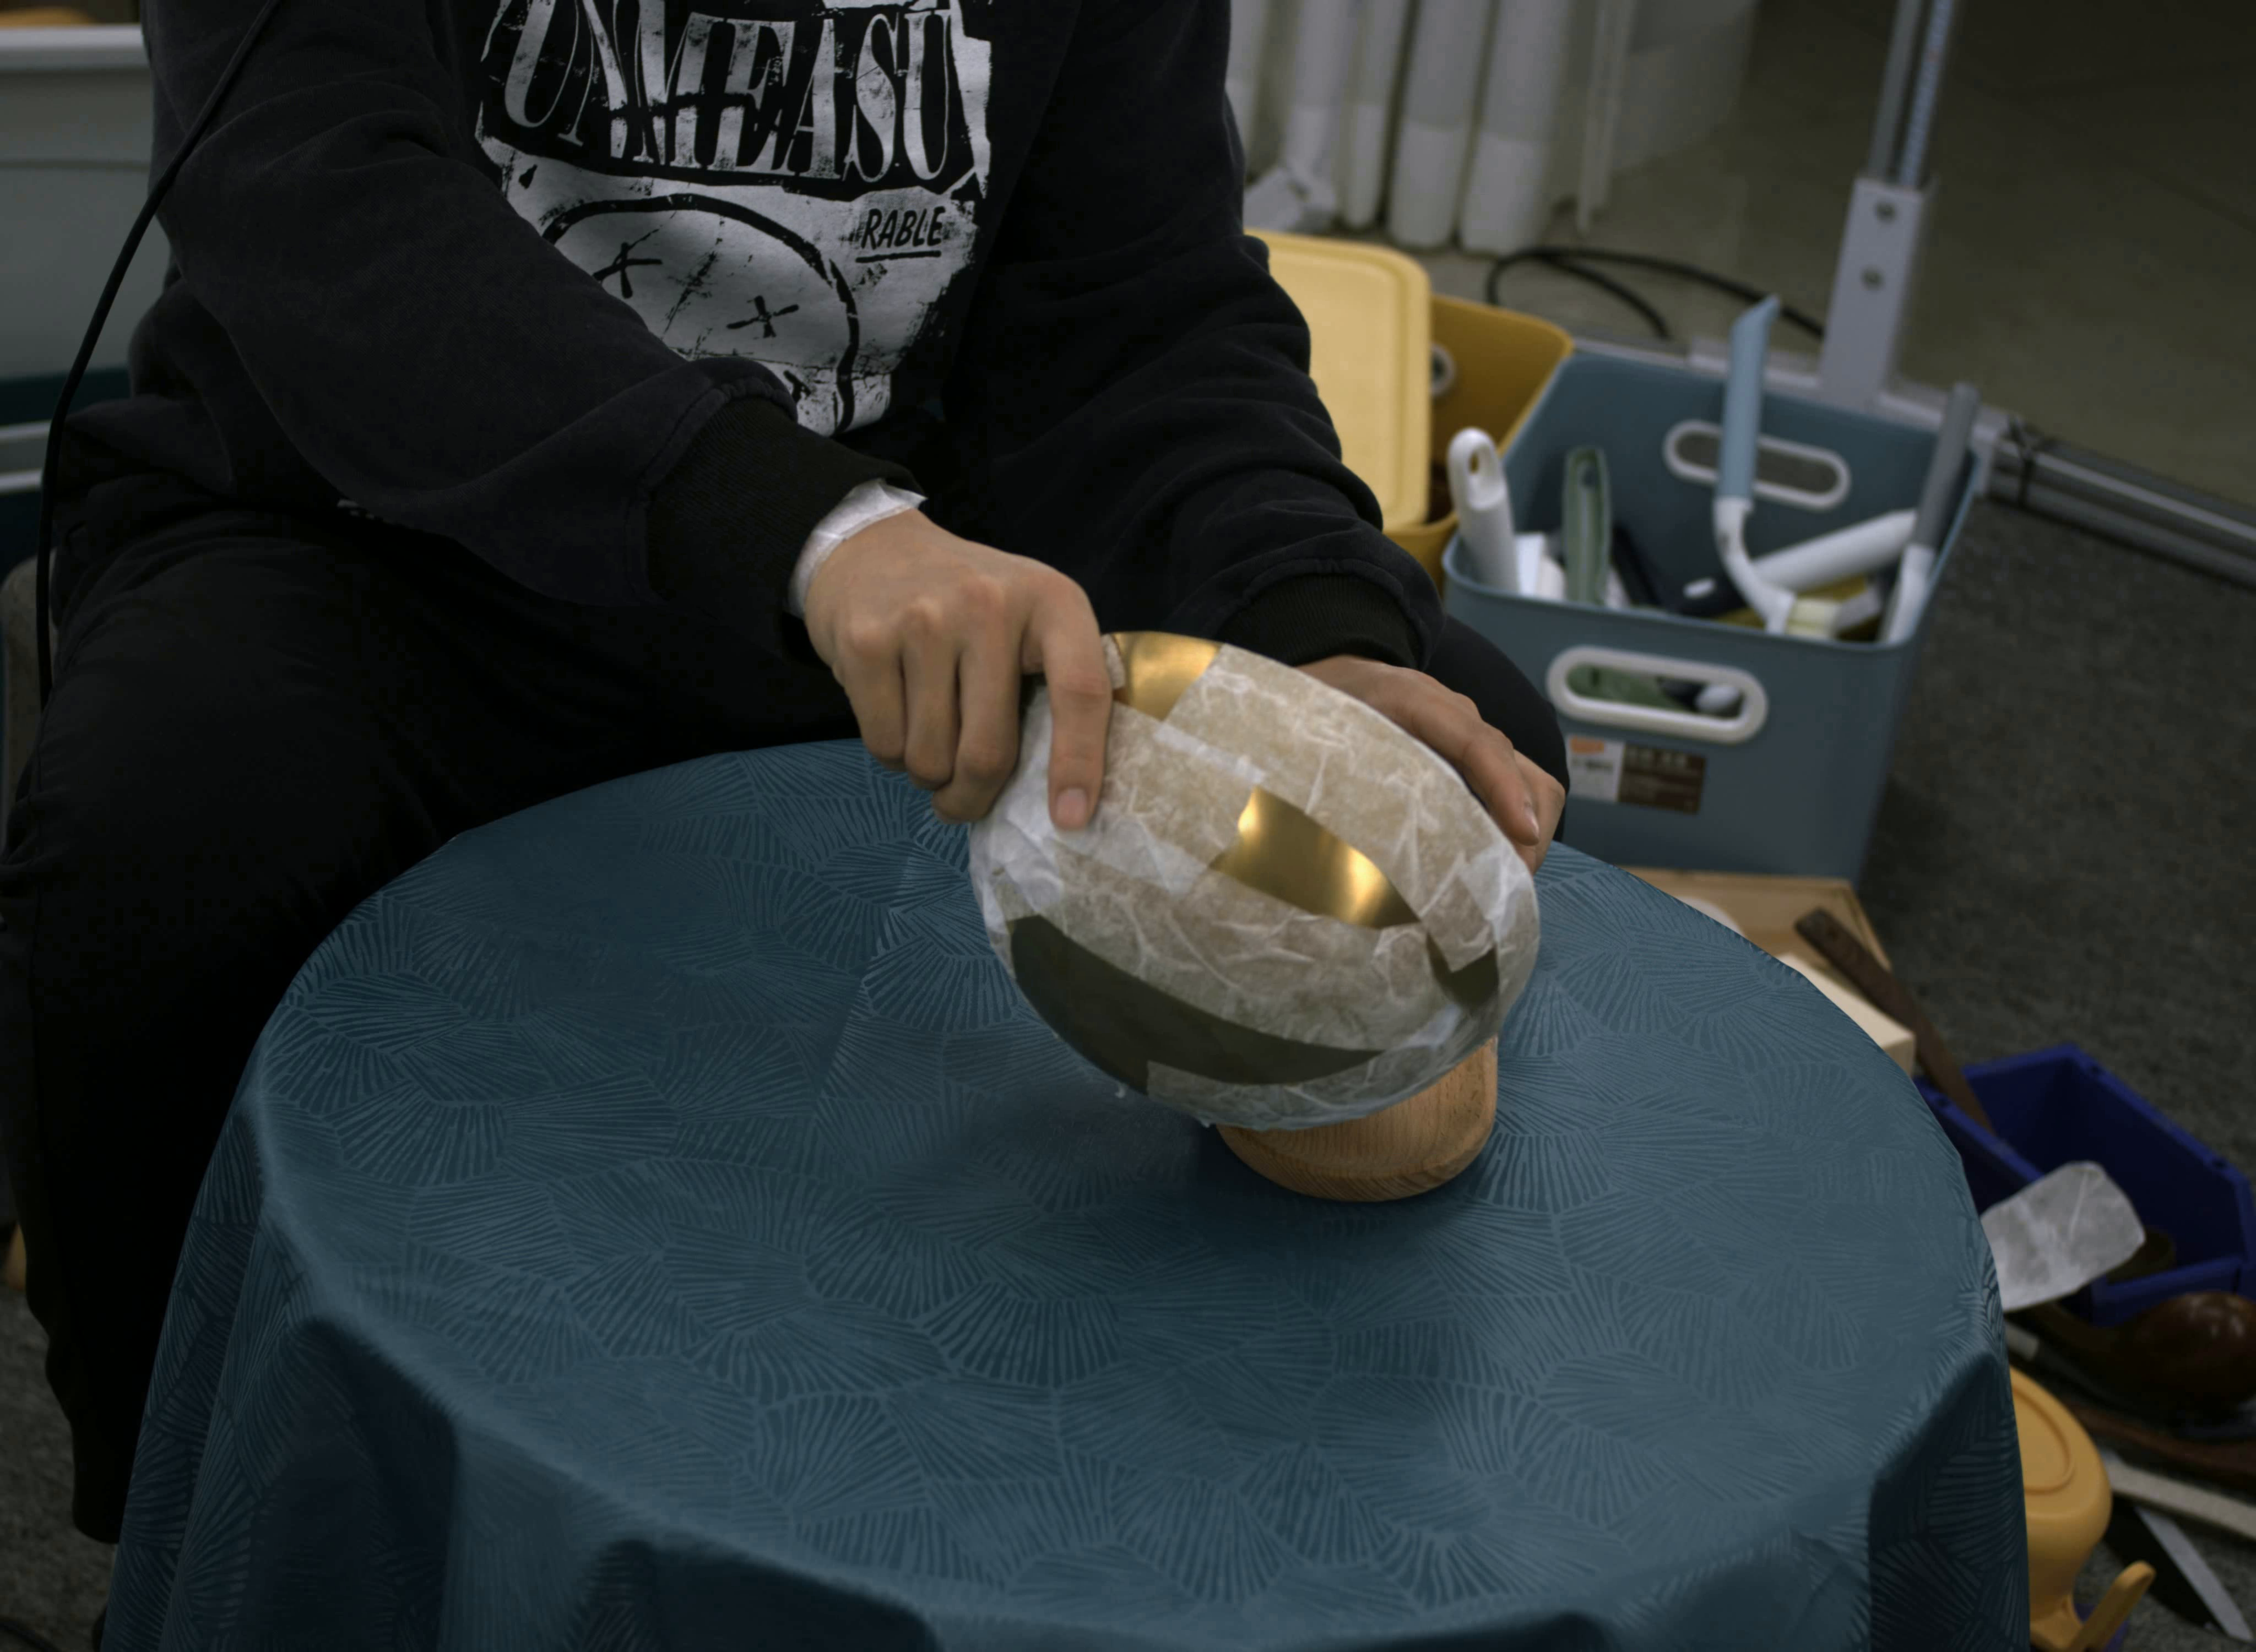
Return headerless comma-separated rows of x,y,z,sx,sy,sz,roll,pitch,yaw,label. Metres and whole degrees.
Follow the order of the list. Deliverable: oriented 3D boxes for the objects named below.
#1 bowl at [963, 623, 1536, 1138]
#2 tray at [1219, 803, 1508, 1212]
0.025,0.039,1.763,0.215,0.213,0.095,18,56,20,bowl
0.084,0.058,1.891,0.101,0.020,0.233,2,38,2,tray
